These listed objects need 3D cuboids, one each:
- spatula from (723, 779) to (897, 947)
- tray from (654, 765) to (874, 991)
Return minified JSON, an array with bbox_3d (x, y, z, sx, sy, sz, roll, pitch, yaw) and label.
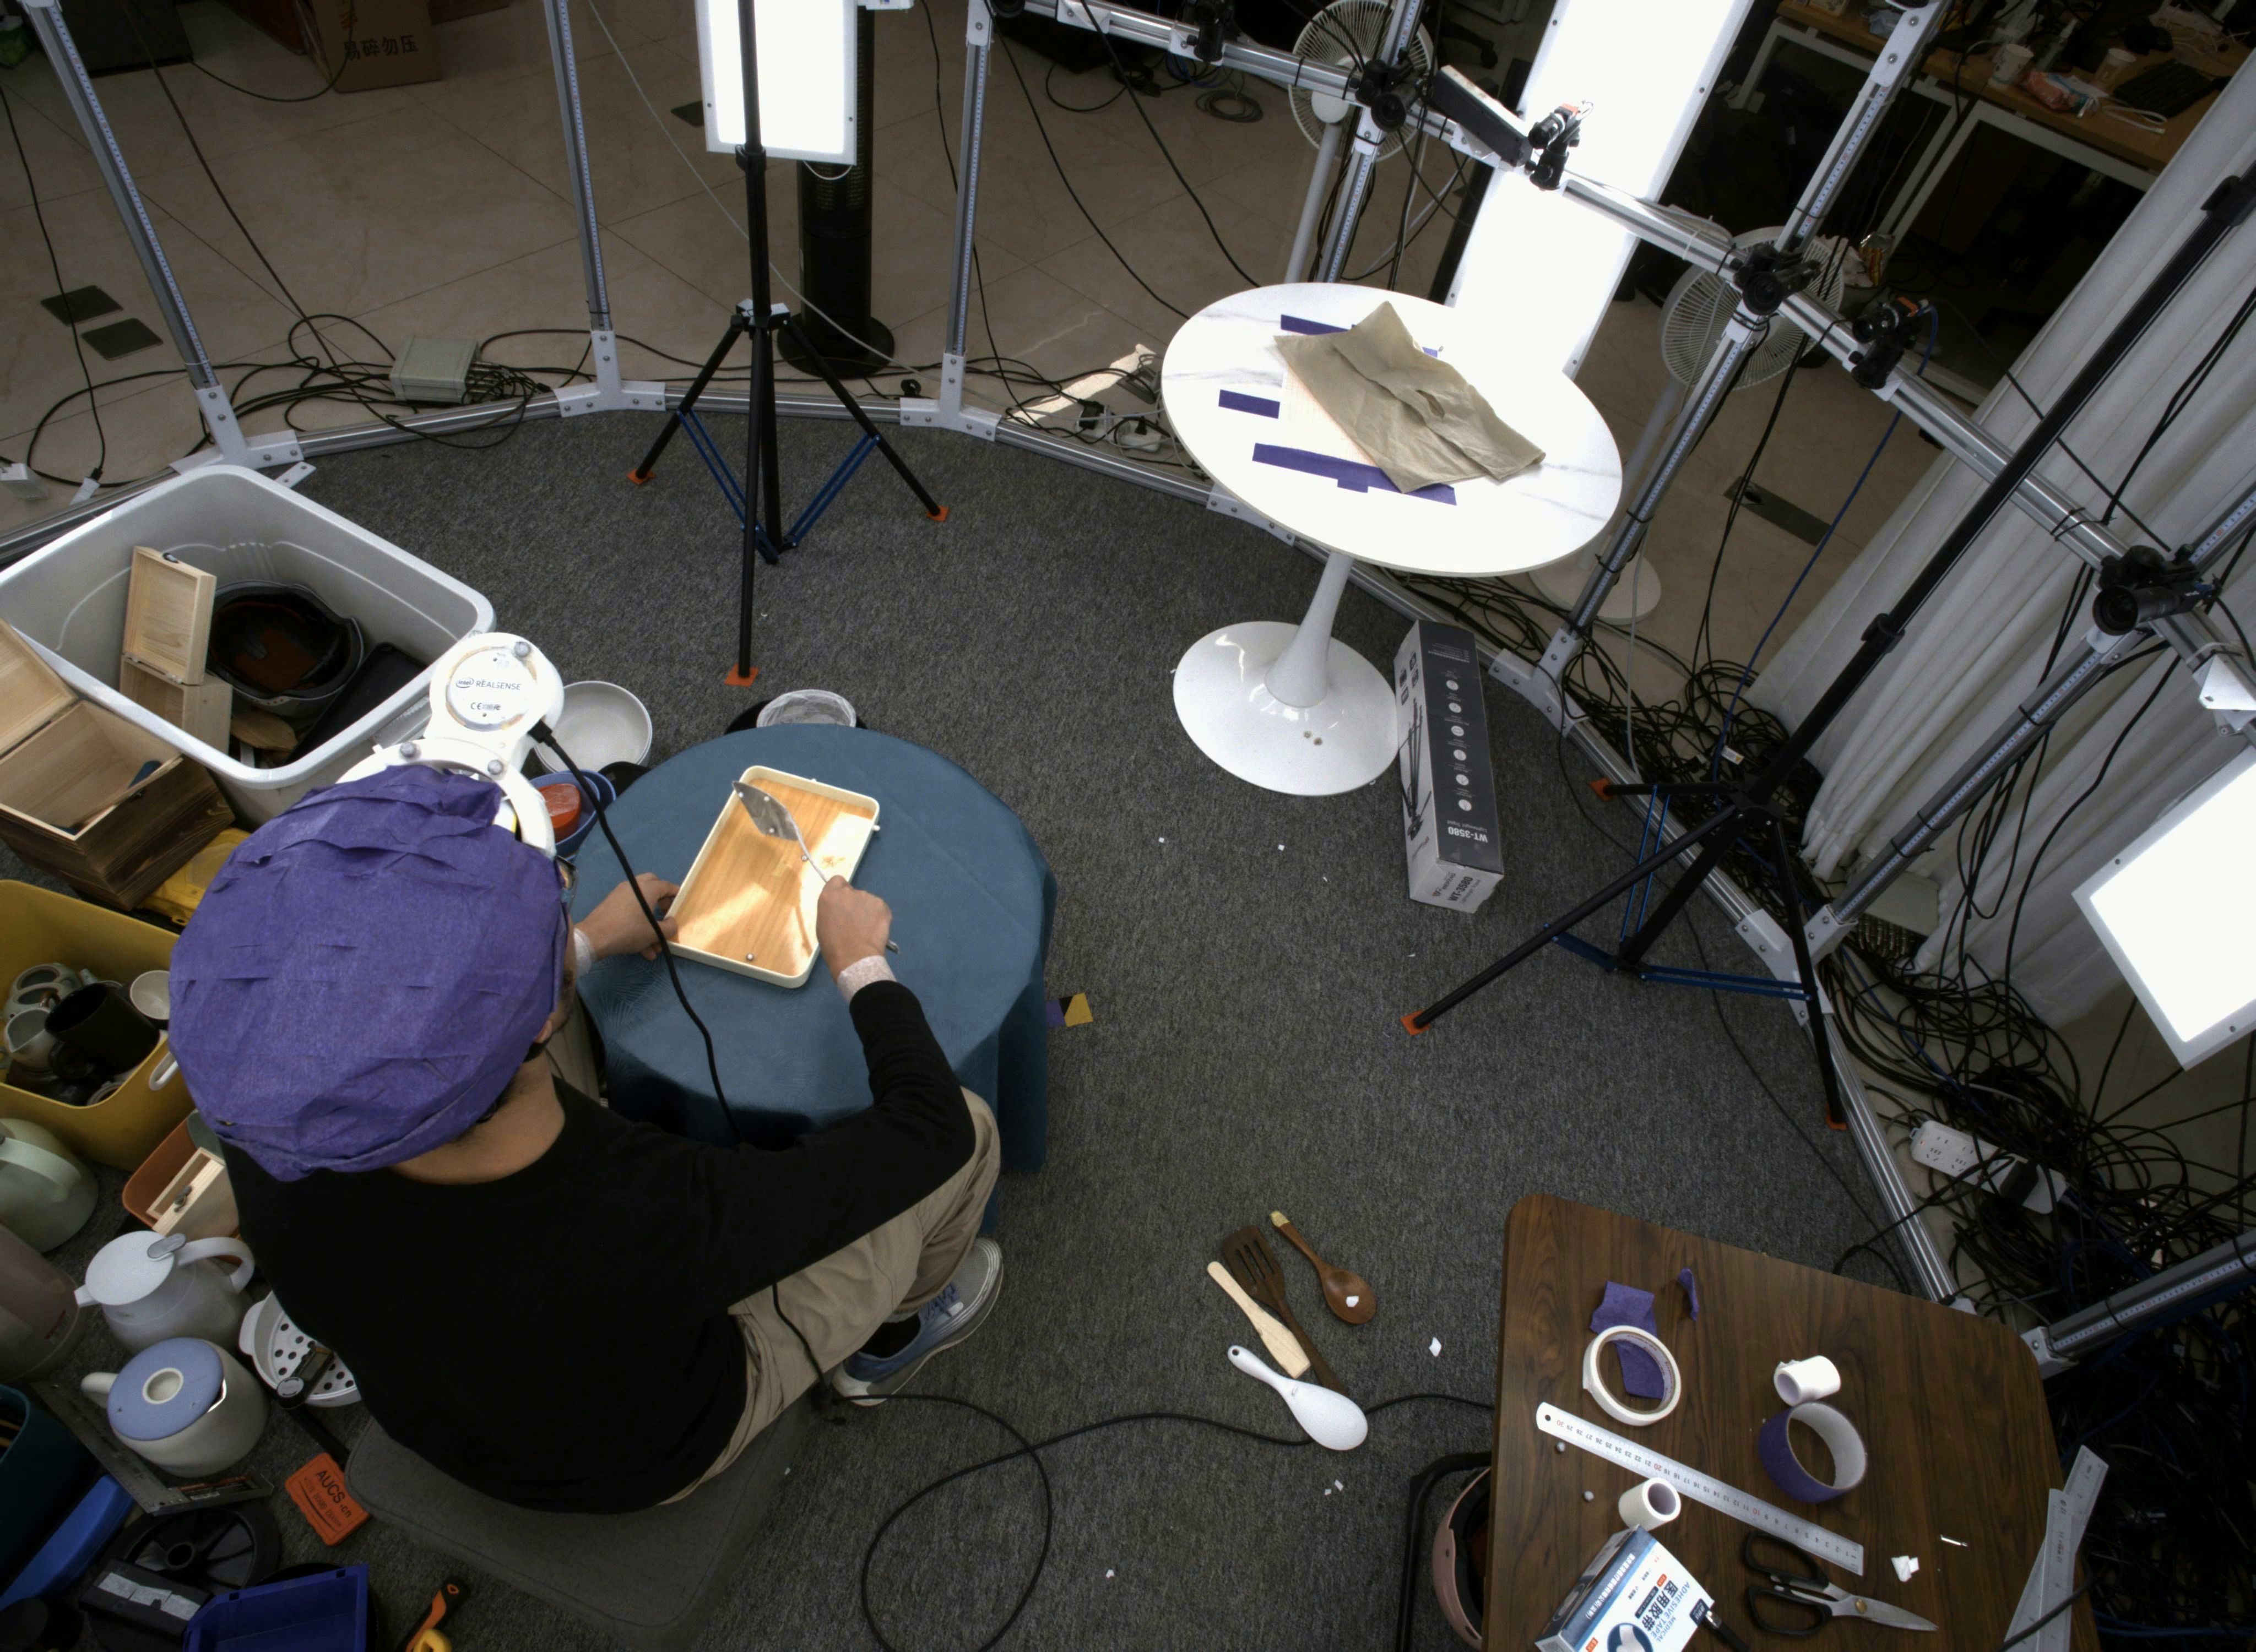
[{"bbox_3d":[-0.382,0.047,1.547,0.045,0.102,0.351,-35,50,-18],"label":"spatula"},{"bbox_3d":[-0.458,0.058,1.649,0.190,0.028,0.296,17,52,-2],"label":"tray"}]
